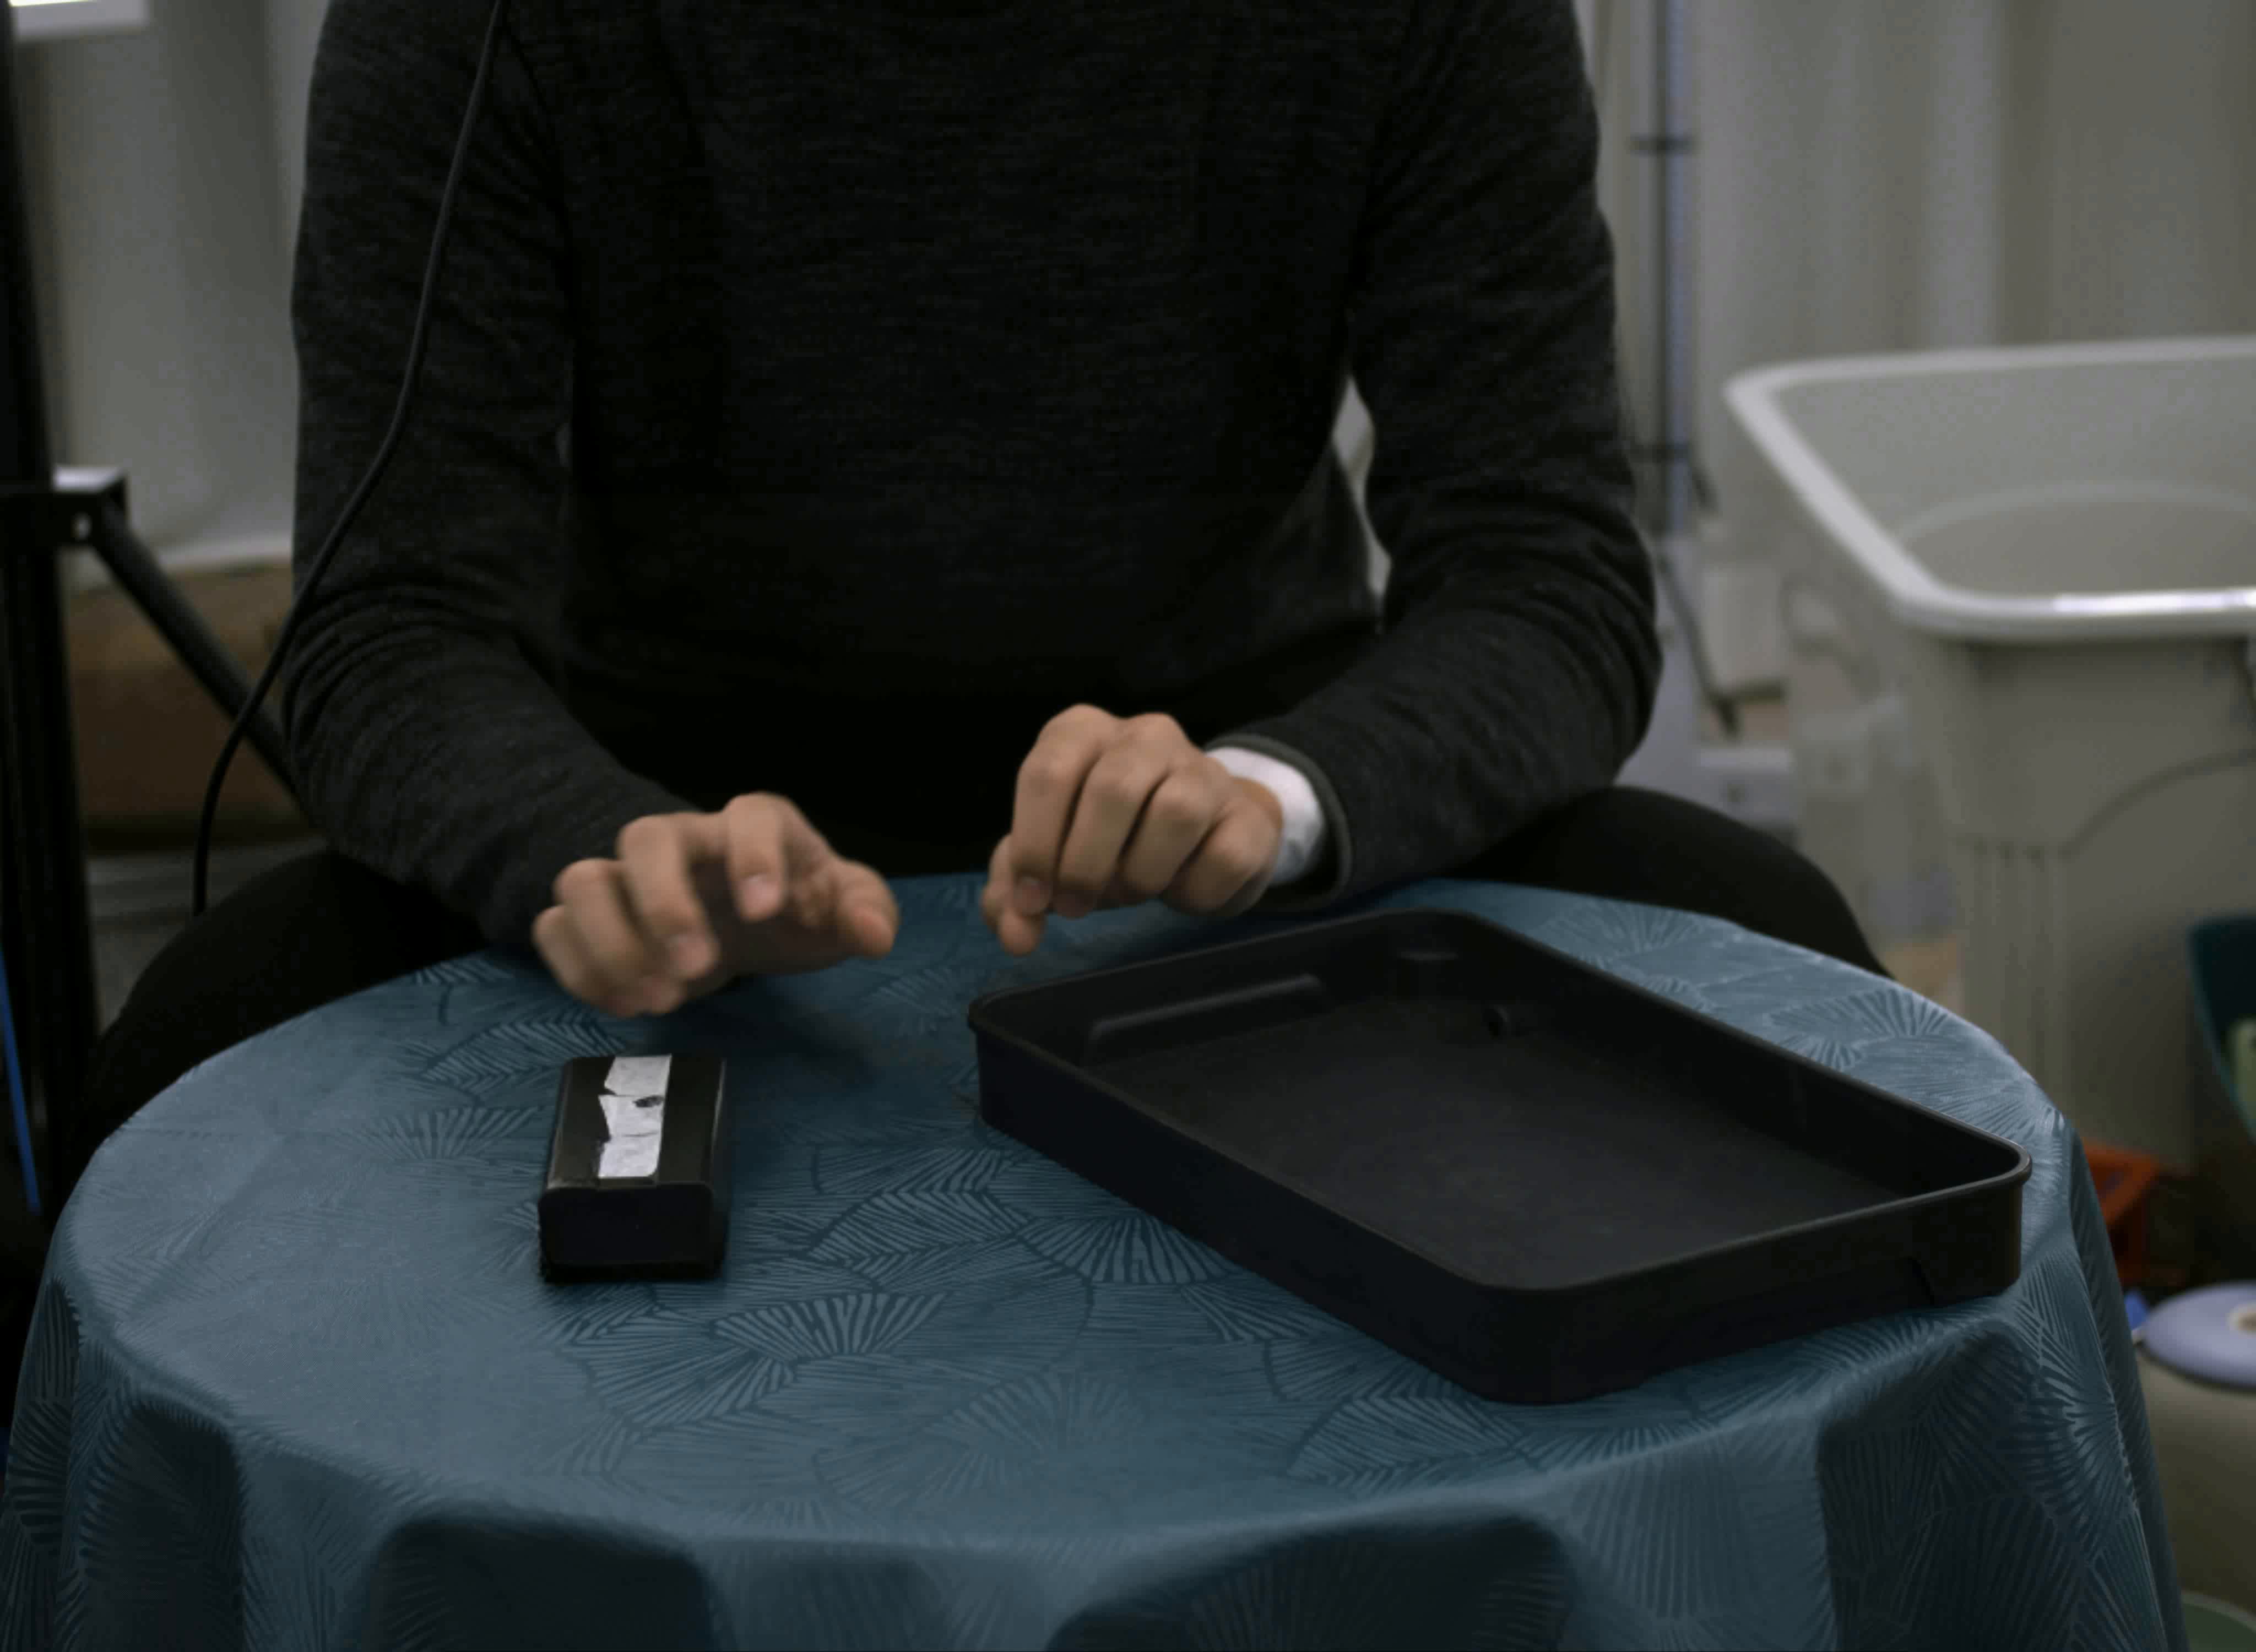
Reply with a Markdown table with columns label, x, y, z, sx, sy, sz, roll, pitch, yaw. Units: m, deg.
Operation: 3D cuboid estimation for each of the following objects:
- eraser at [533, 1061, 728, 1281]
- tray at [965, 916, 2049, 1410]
| label | x | y | z | sx | sy | sz | roll | pitch | yaw |
| --- | --- | --- | --- | --- | --- | --- | --- | --- | --- |
| eraser | -0.144 | 0.100 | 1.558 | 0.053 | 0.030 | 0.126 | -1 | 14 | -3 |
| tray | 0.103 | 0.091 | 1.536 | 0.180 | 0.037 | 0.325 | -11 | 17 | -29 |
